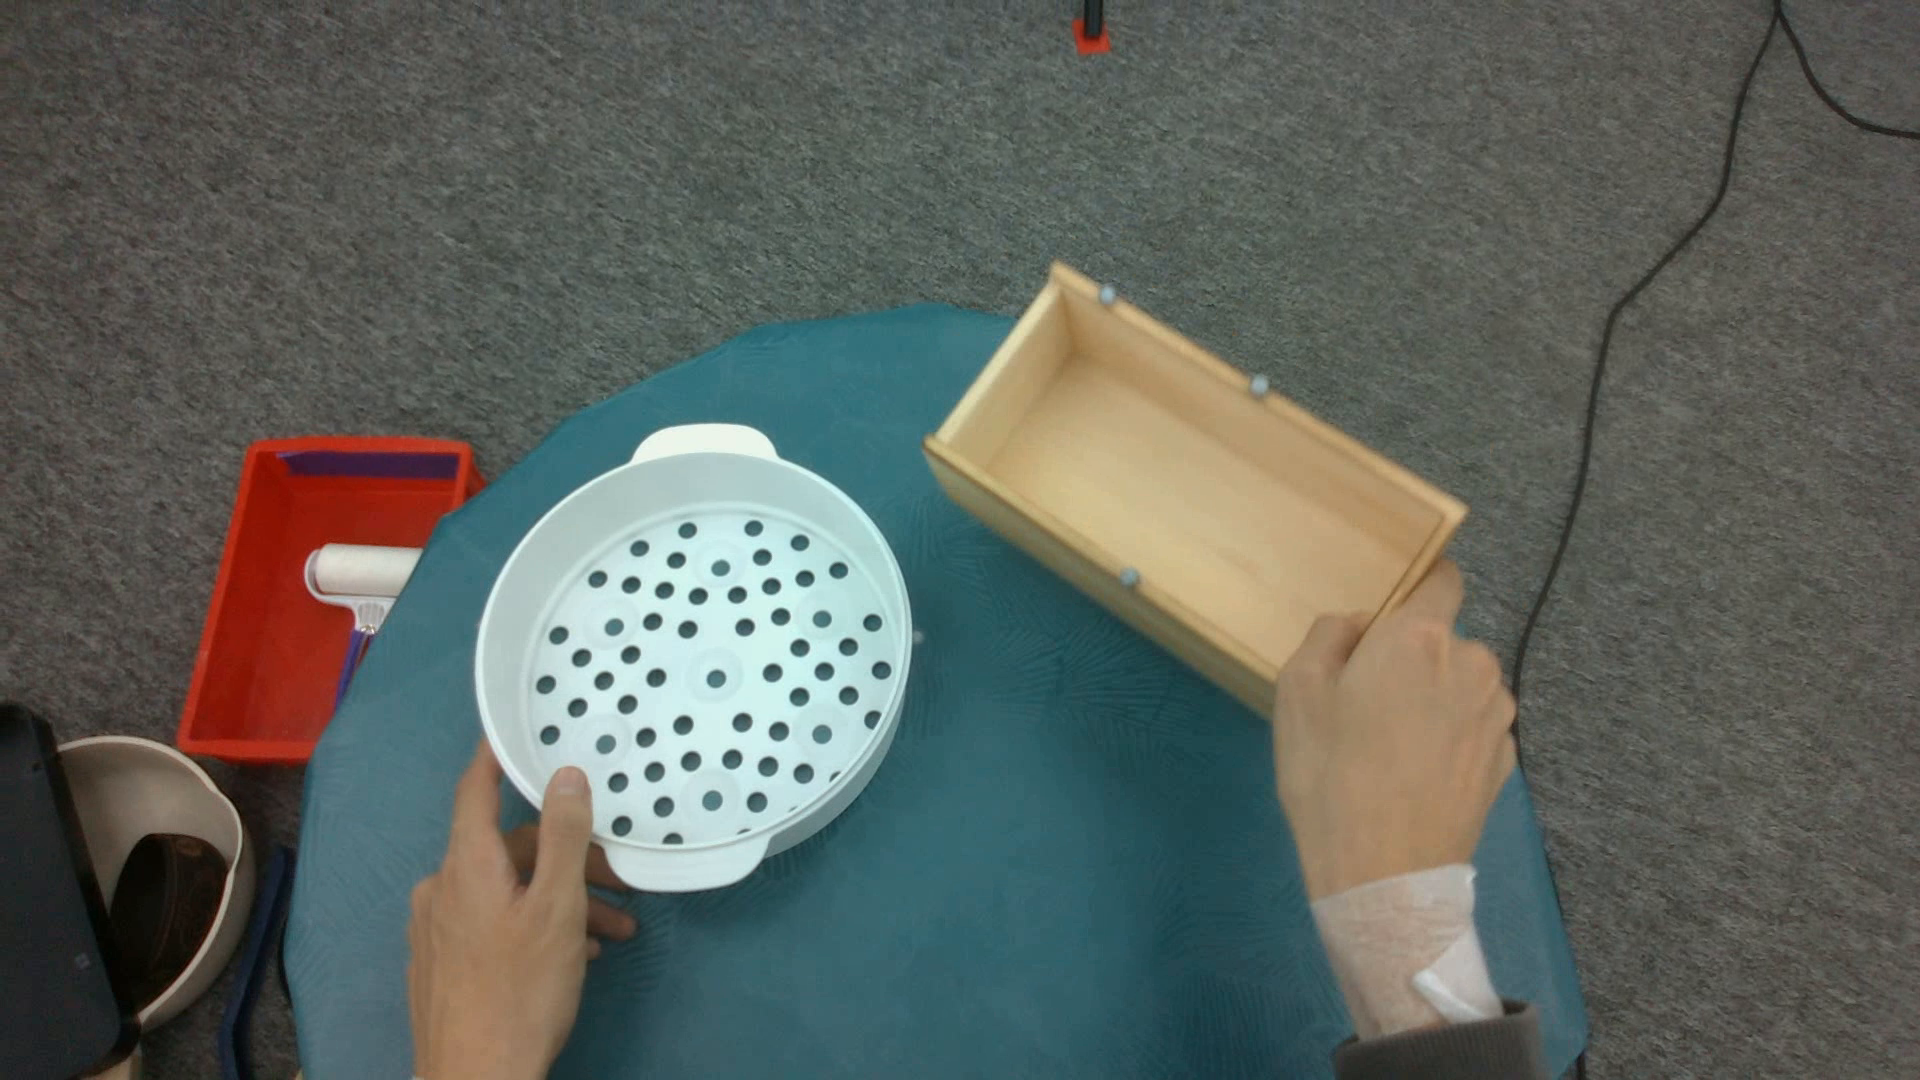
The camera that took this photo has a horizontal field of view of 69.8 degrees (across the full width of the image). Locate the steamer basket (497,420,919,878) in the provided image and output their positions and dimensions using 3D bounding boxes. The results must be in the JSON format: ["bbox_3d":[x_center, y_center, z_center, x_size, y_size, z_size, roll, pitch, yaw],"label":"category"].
[{"bbox_3d":[-0.121,0.055,0.687,0.202,0.069,0.231,-2,67,-2],"label":"steamer basket"}]

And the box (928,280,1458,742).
[{"bbox_3d":[0.105,-0.014,0.643,0.211,0.080,0.107,34,82,18],"label":"box"}]
